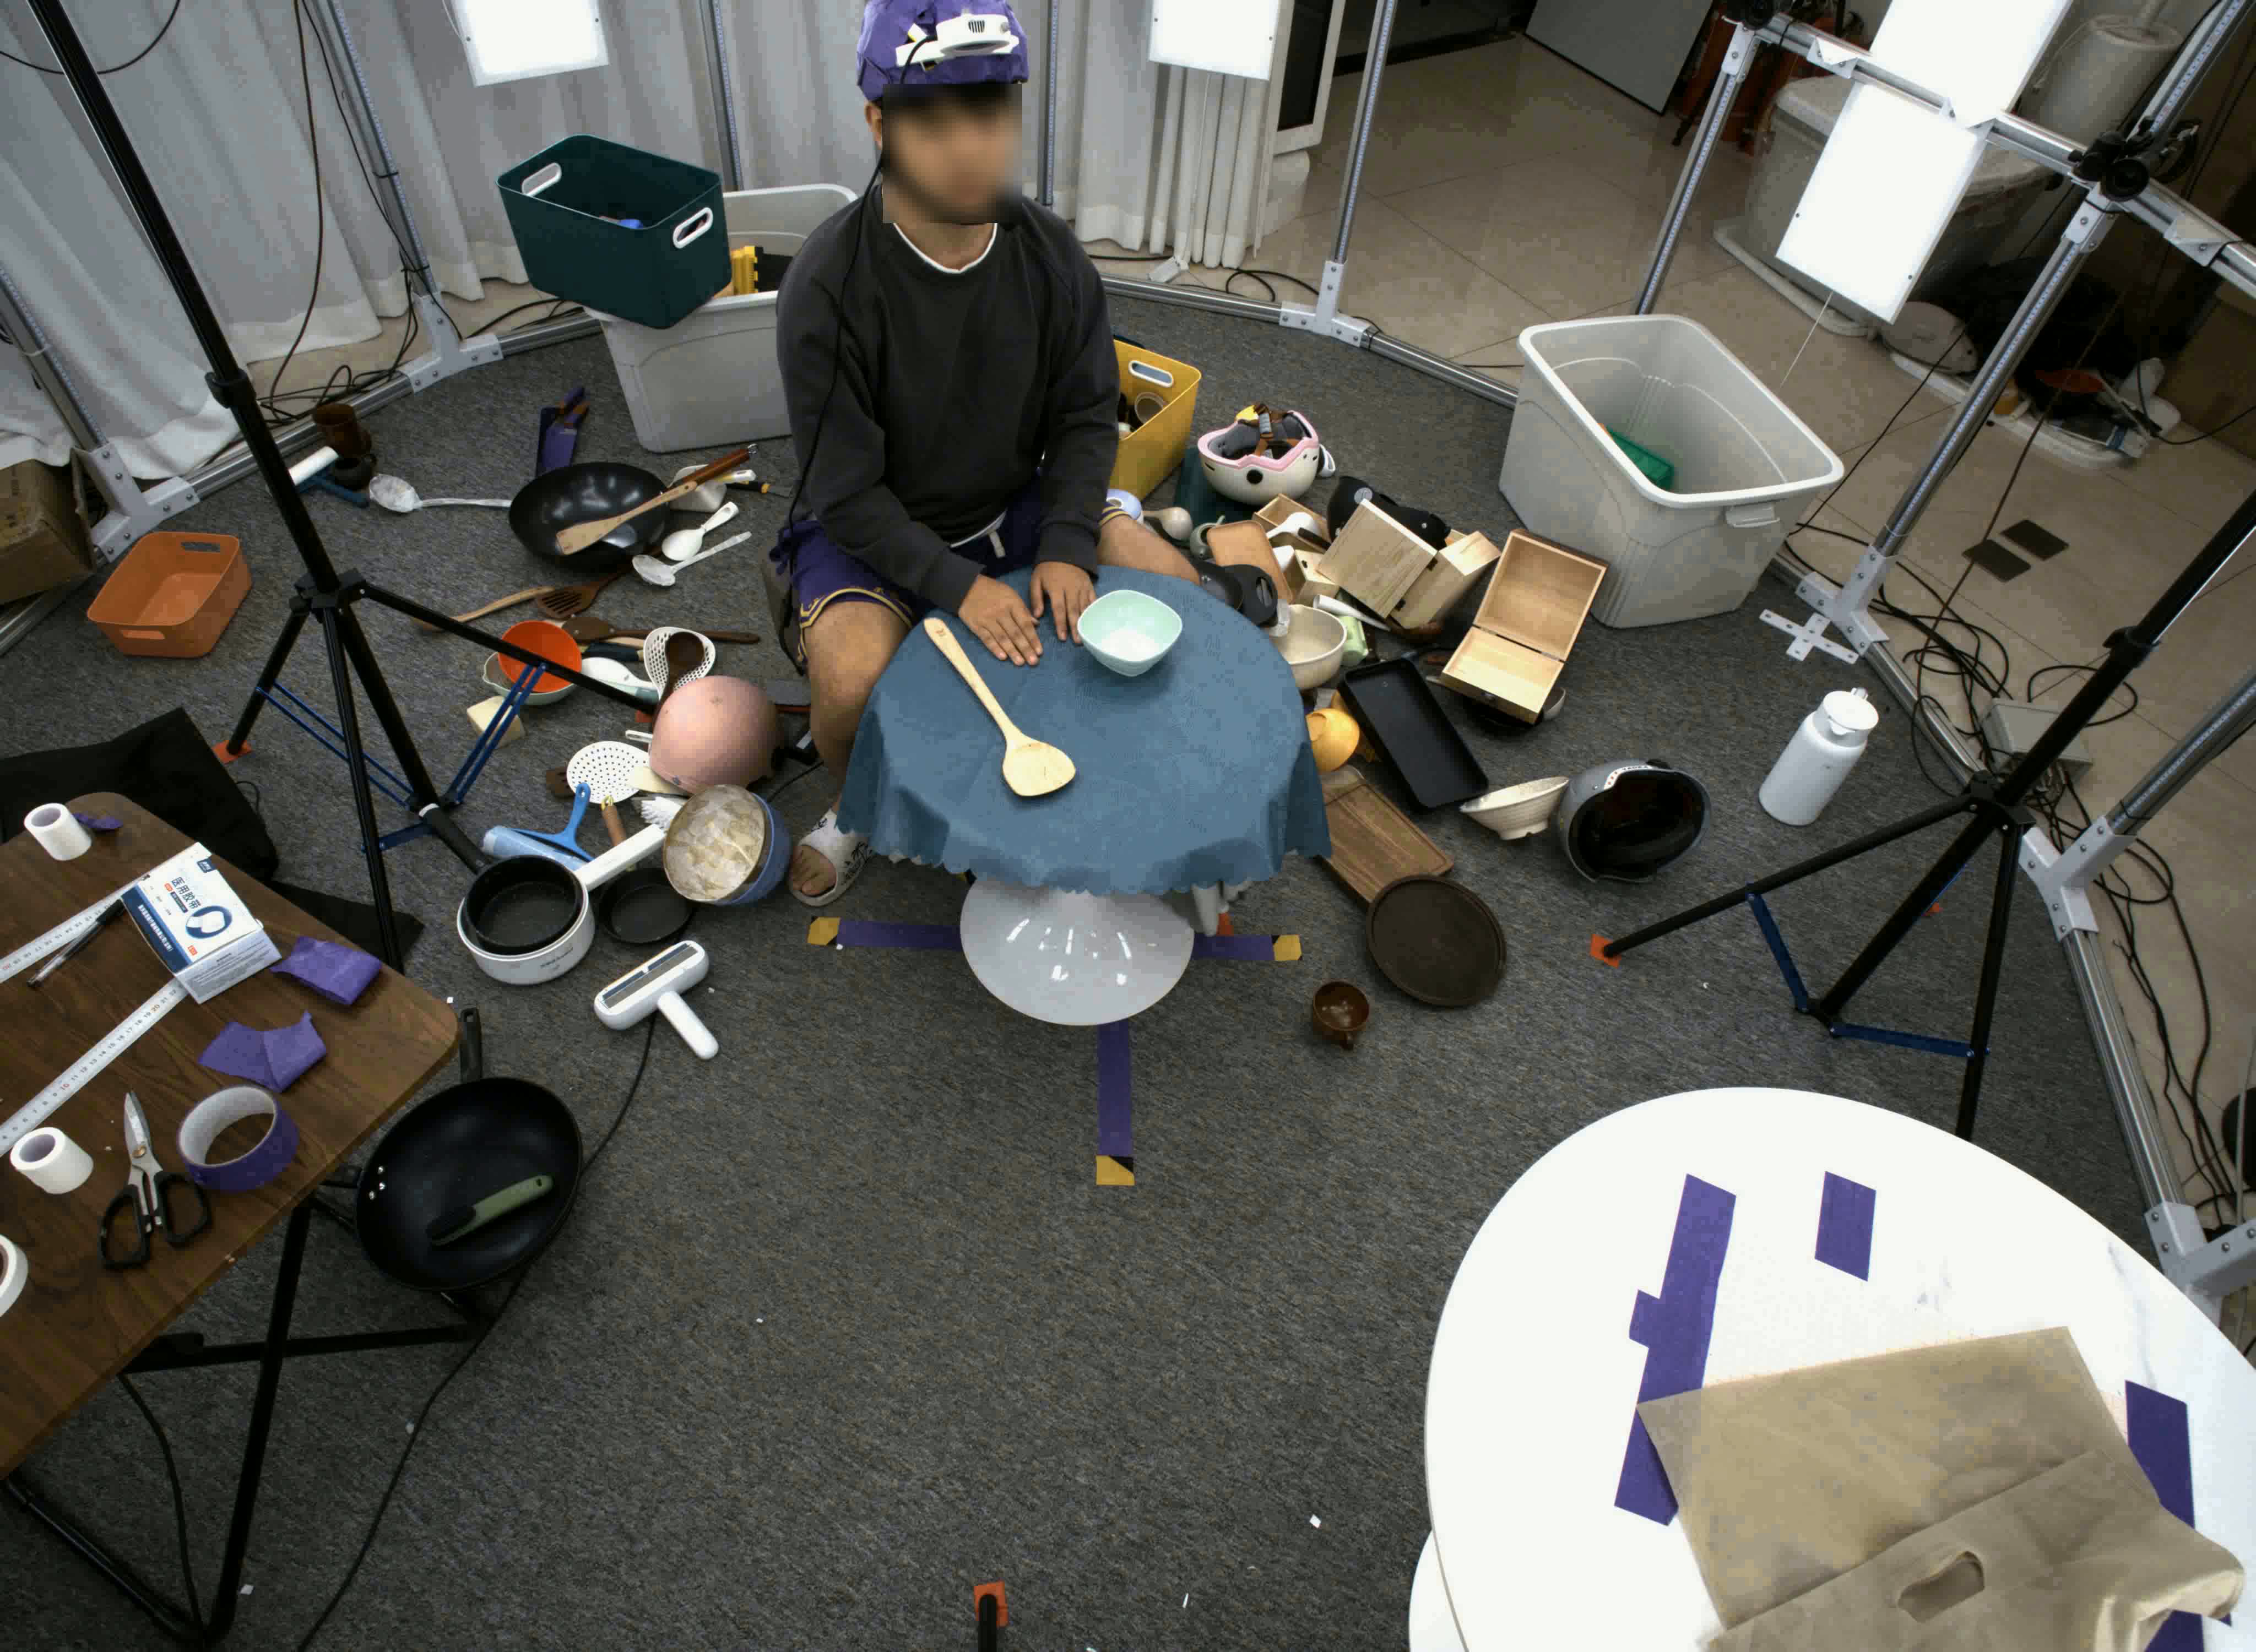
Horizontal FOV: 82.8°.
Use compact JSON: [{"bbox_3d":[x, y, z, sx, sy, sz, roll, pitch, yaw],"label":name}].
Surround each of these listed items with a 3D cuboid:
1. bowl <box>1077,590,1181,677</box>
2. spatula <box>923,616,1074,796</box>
[{"bbox_3d":[0.000,-0.271,1.868,0.151,0.057,0.155,3,50,-3],"label":"bowl"},{"bbox_3d":[-0.201,-0.176,1.794,0.096,0.018,0.399,-21,54,-22],"label":"spatula"}]
